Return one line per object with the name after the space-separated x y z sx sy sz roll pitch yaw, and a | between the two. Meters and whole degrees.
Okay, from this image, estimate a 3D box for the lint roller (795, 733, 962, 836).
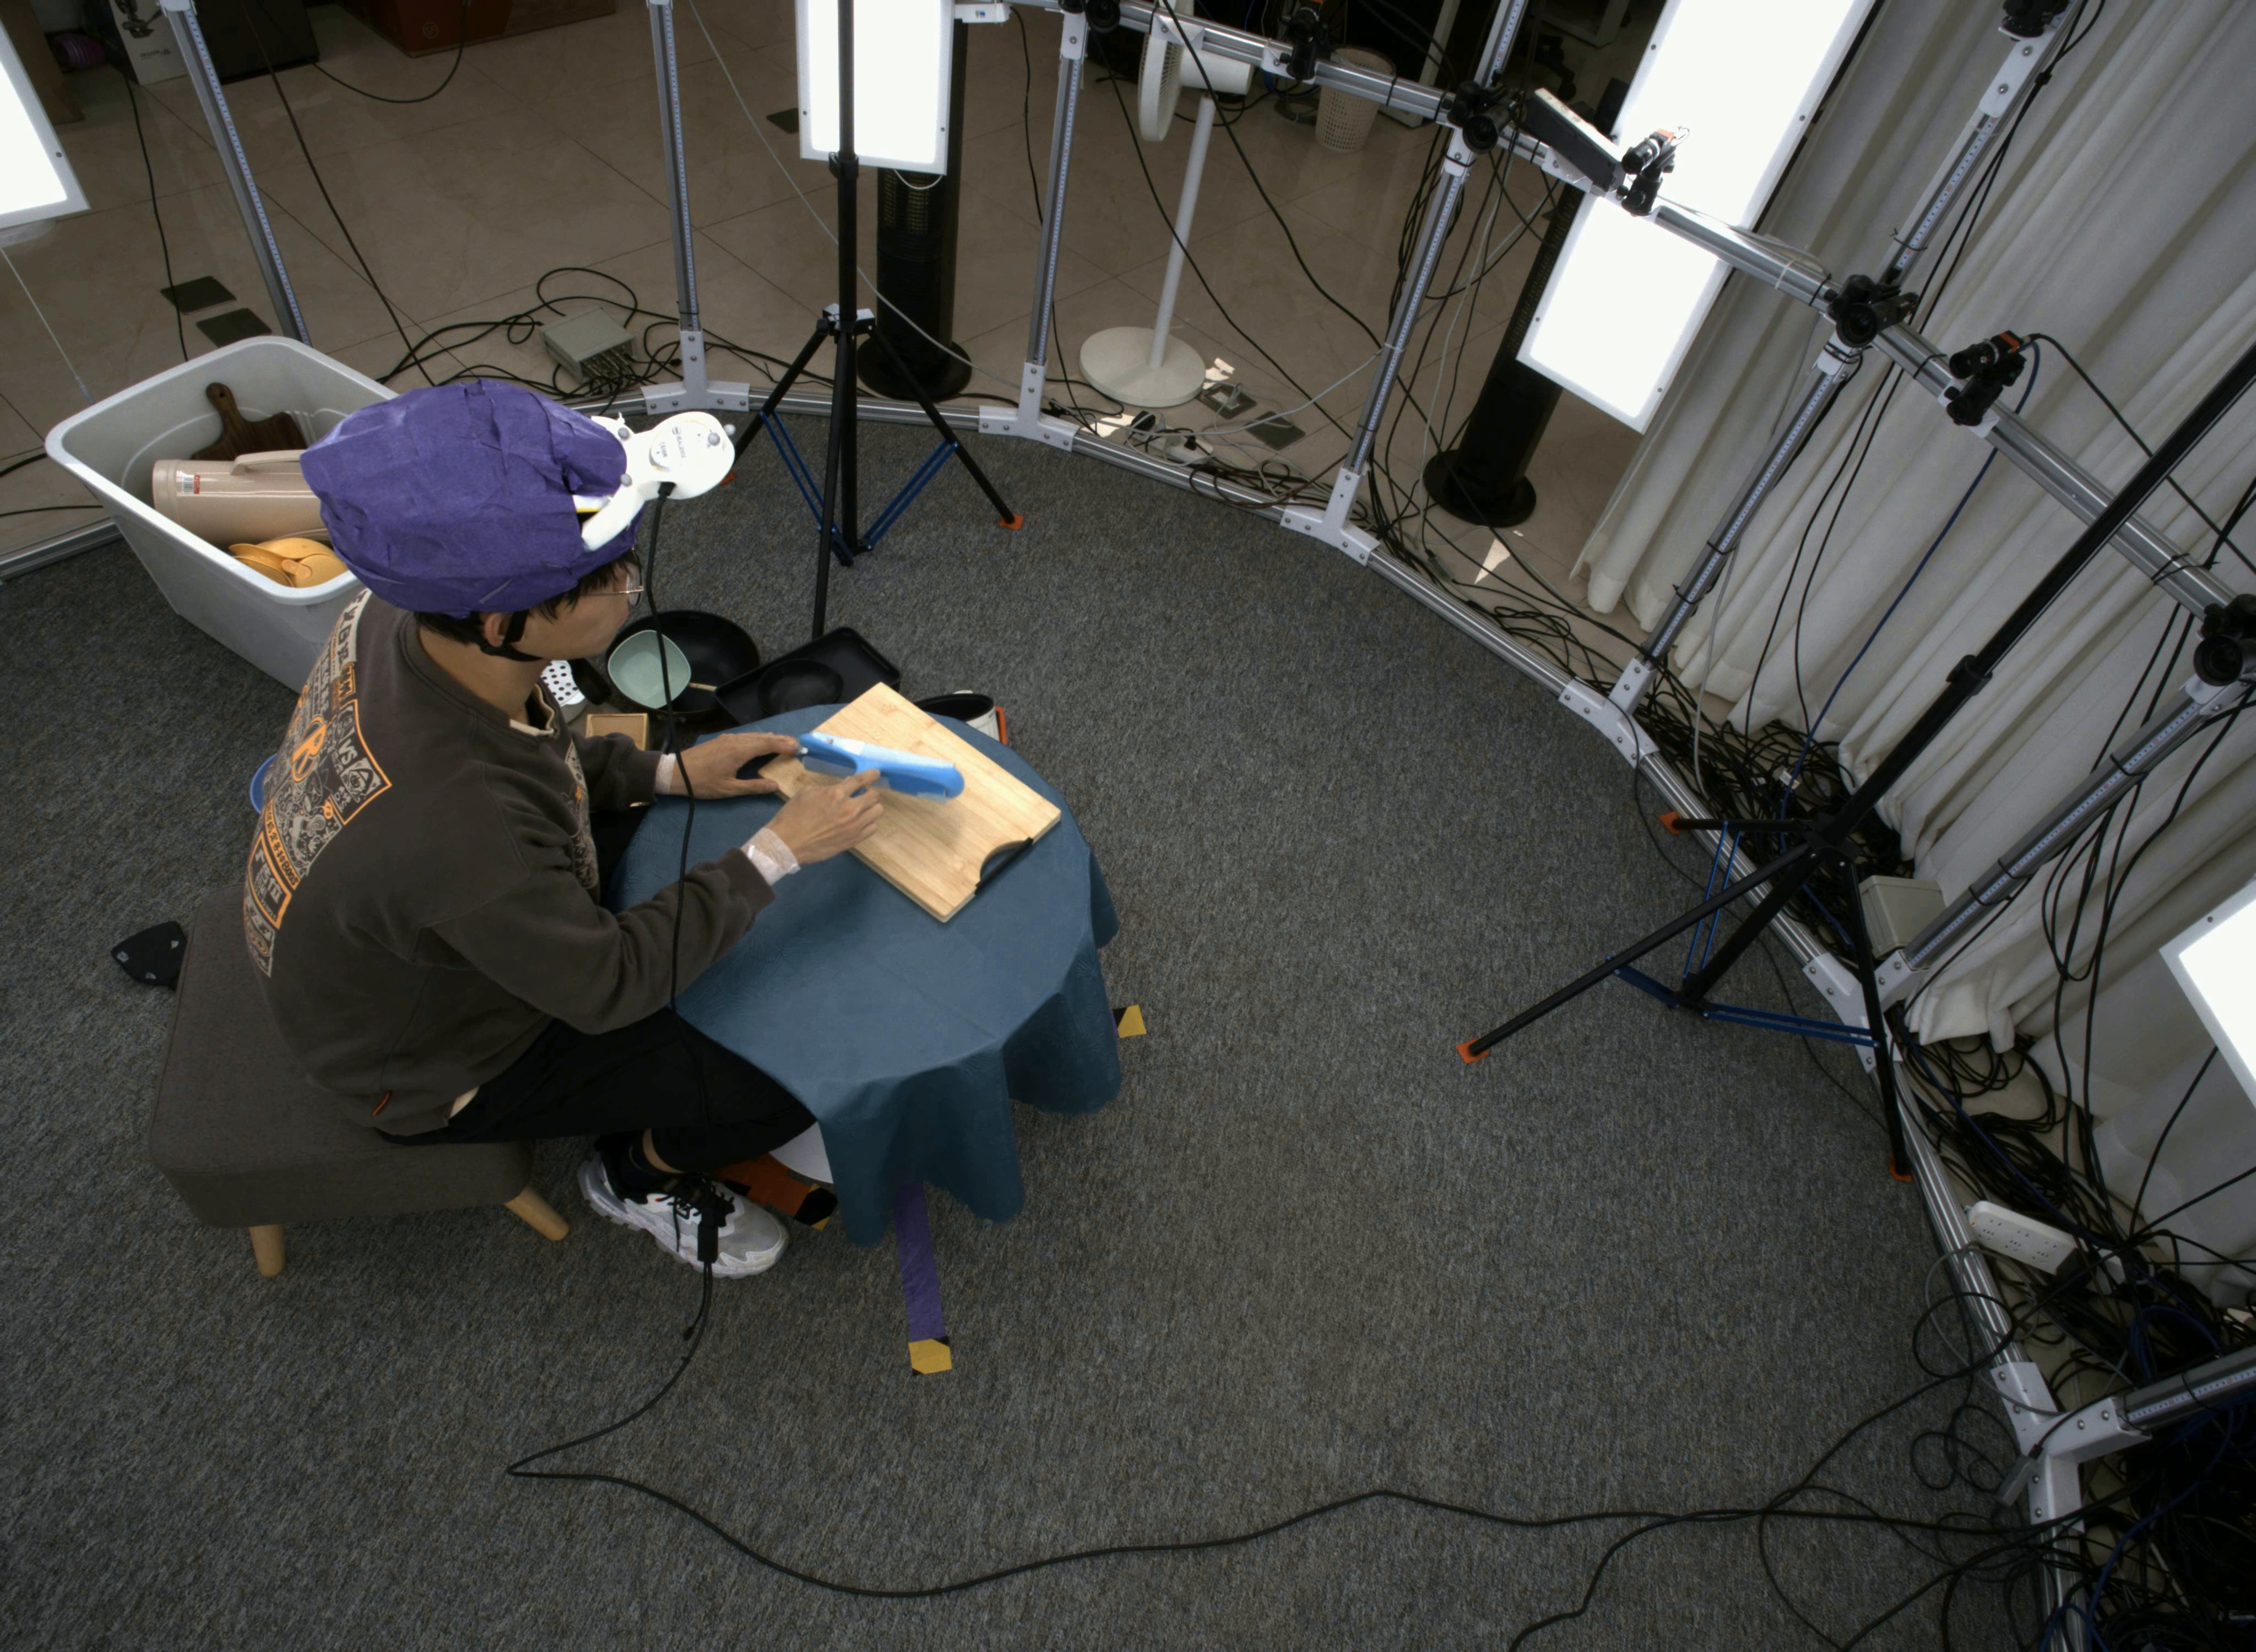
-0.337 -0.053 1.670 0.227 0.069 0.177 15 25 -2 | lint roller

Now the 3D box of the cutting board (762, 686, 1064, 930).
-0.293 -0.036 1.787 0.342 0.024 0.250 35 55 13 | cutting board
